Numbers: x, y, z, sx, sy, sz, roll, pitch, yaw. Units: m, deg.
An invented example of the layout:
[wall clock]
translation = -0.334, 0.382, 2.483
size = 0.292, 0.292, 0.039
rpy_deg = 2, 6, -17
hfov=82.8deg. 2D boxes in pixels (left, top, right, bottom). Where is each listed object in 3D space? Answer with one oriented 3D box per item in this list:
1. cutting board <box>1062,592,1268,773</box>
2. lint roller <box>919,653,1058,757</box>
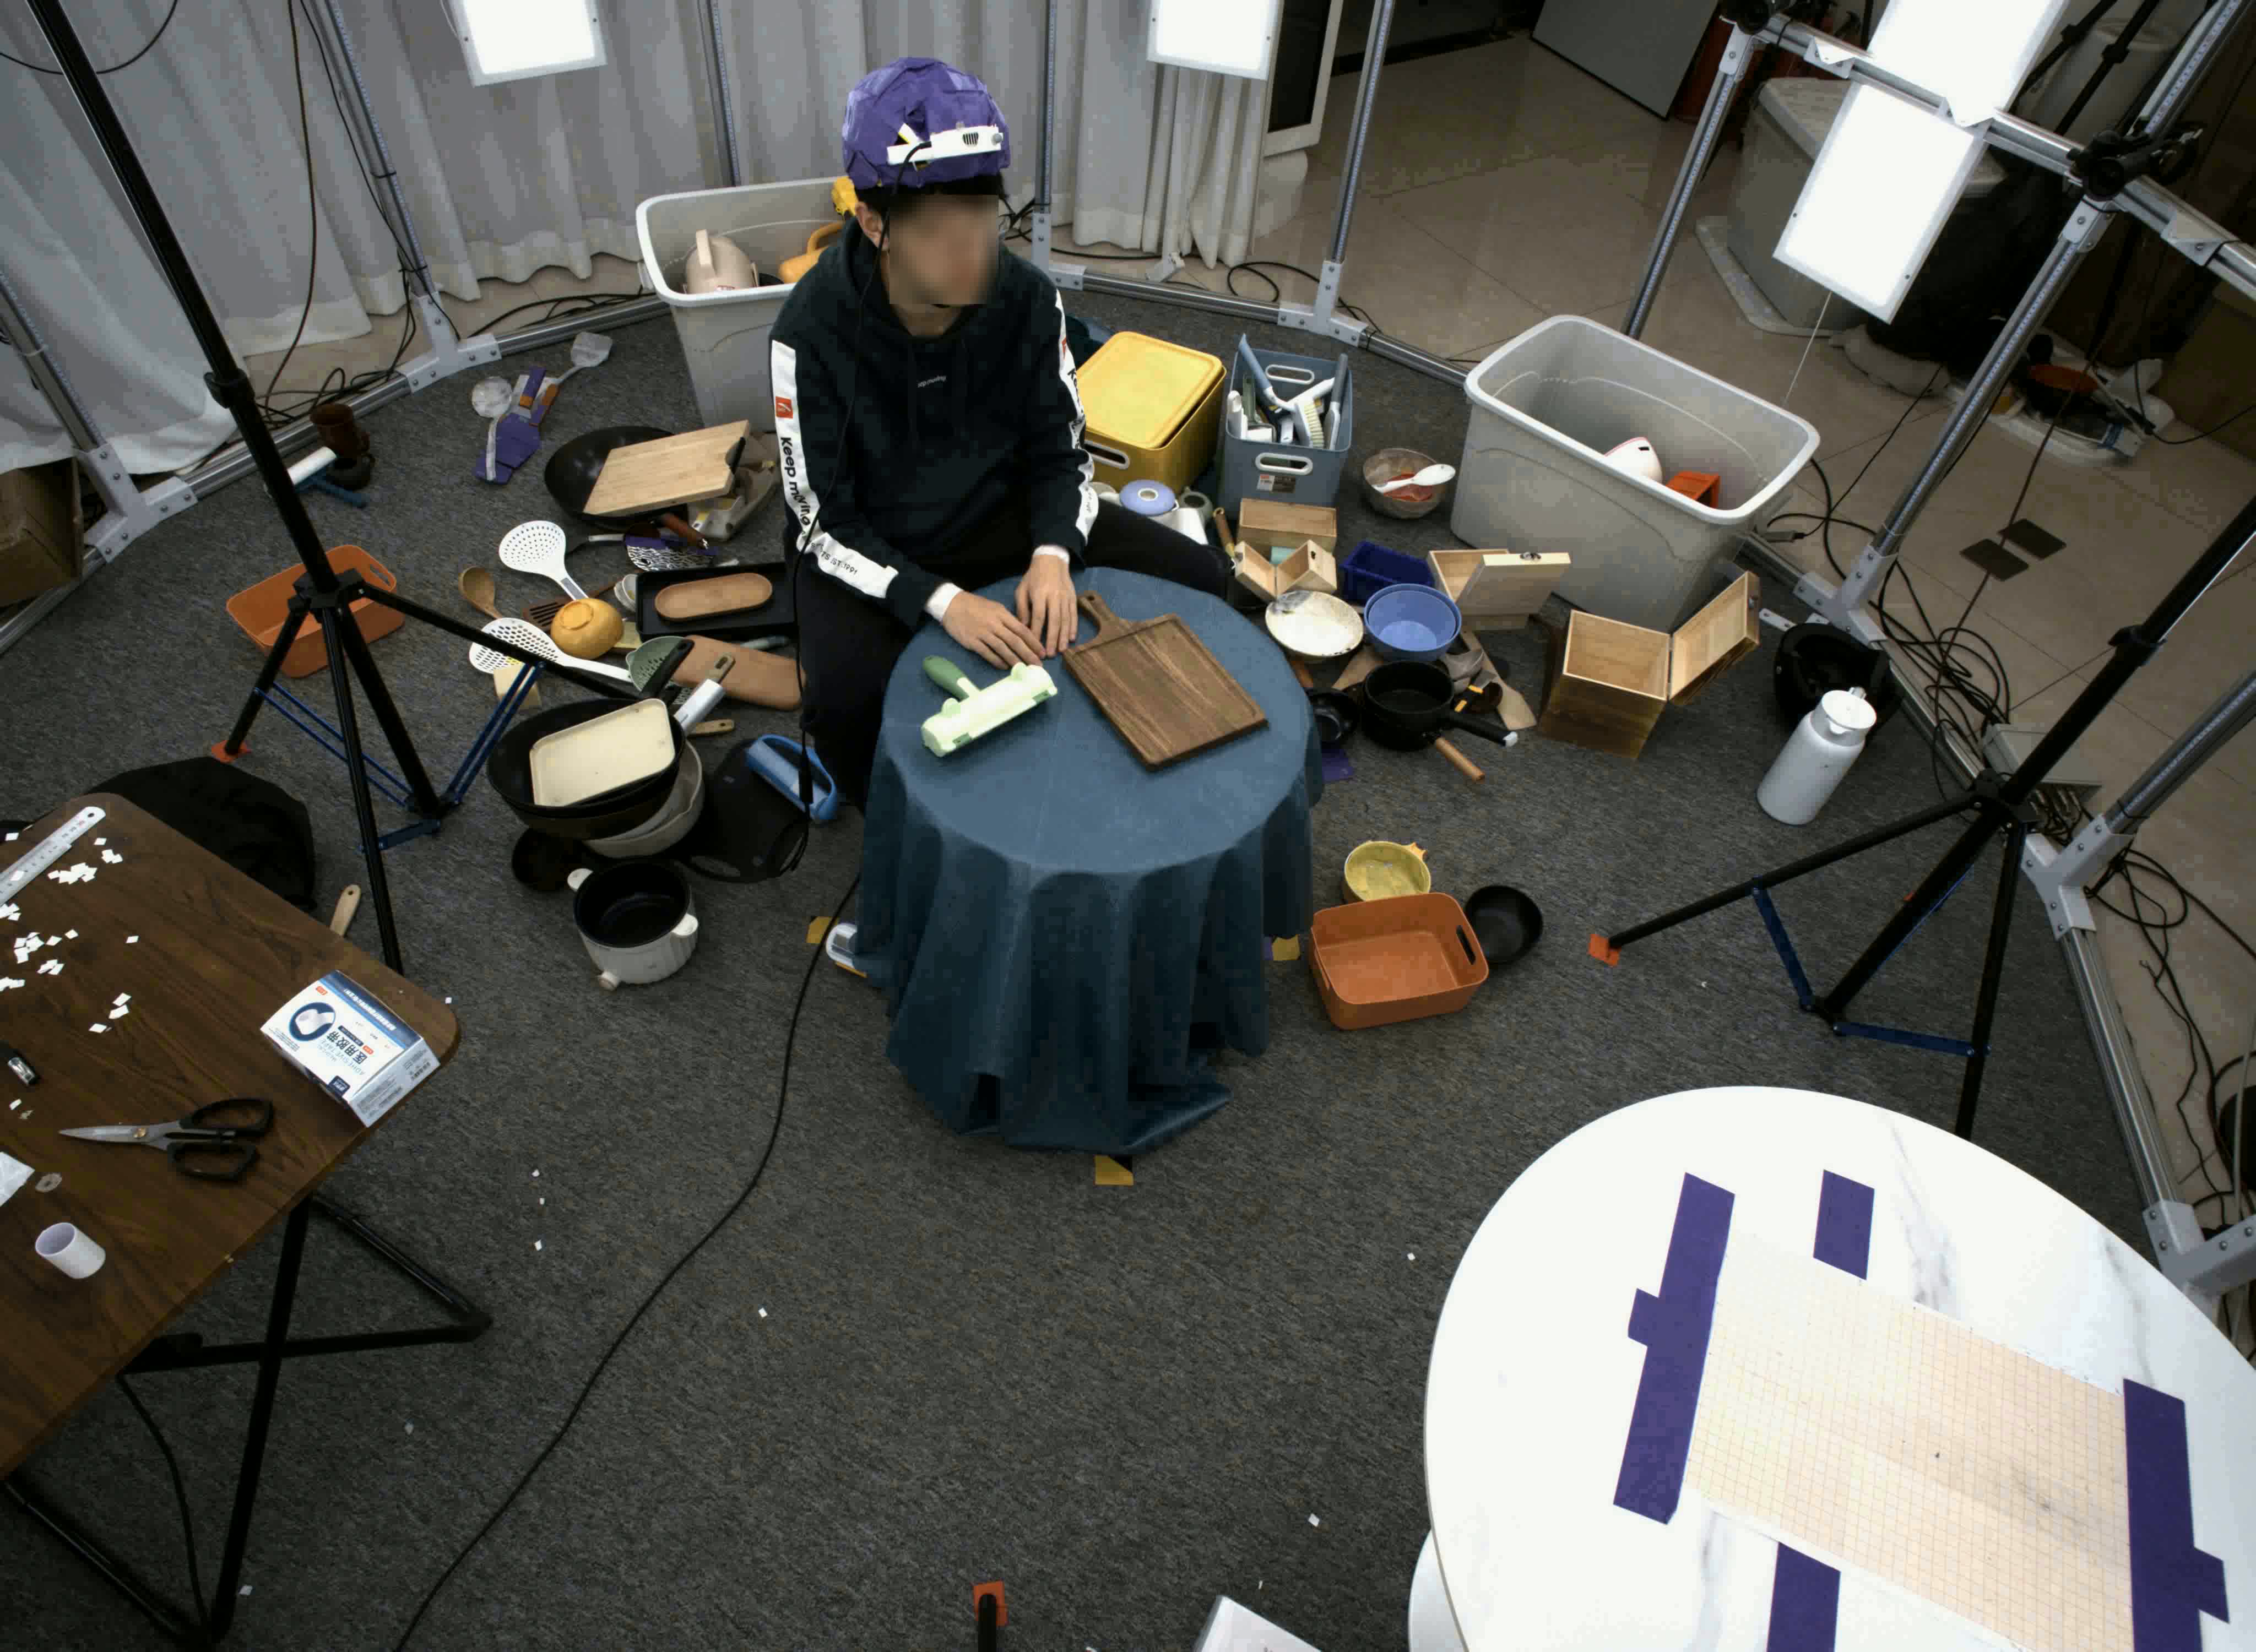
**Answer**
[cutting board]
translation = 0.025, -0.229, 1.855
size = 0.202, 0.022, 0.359
rpy_deg = -23, 54, -22
[lint roller]
translation = -0.226, -0.200, 1.777
size = 0.200, 0.080, 0.186
rpy_deg = -31, 62, -27
